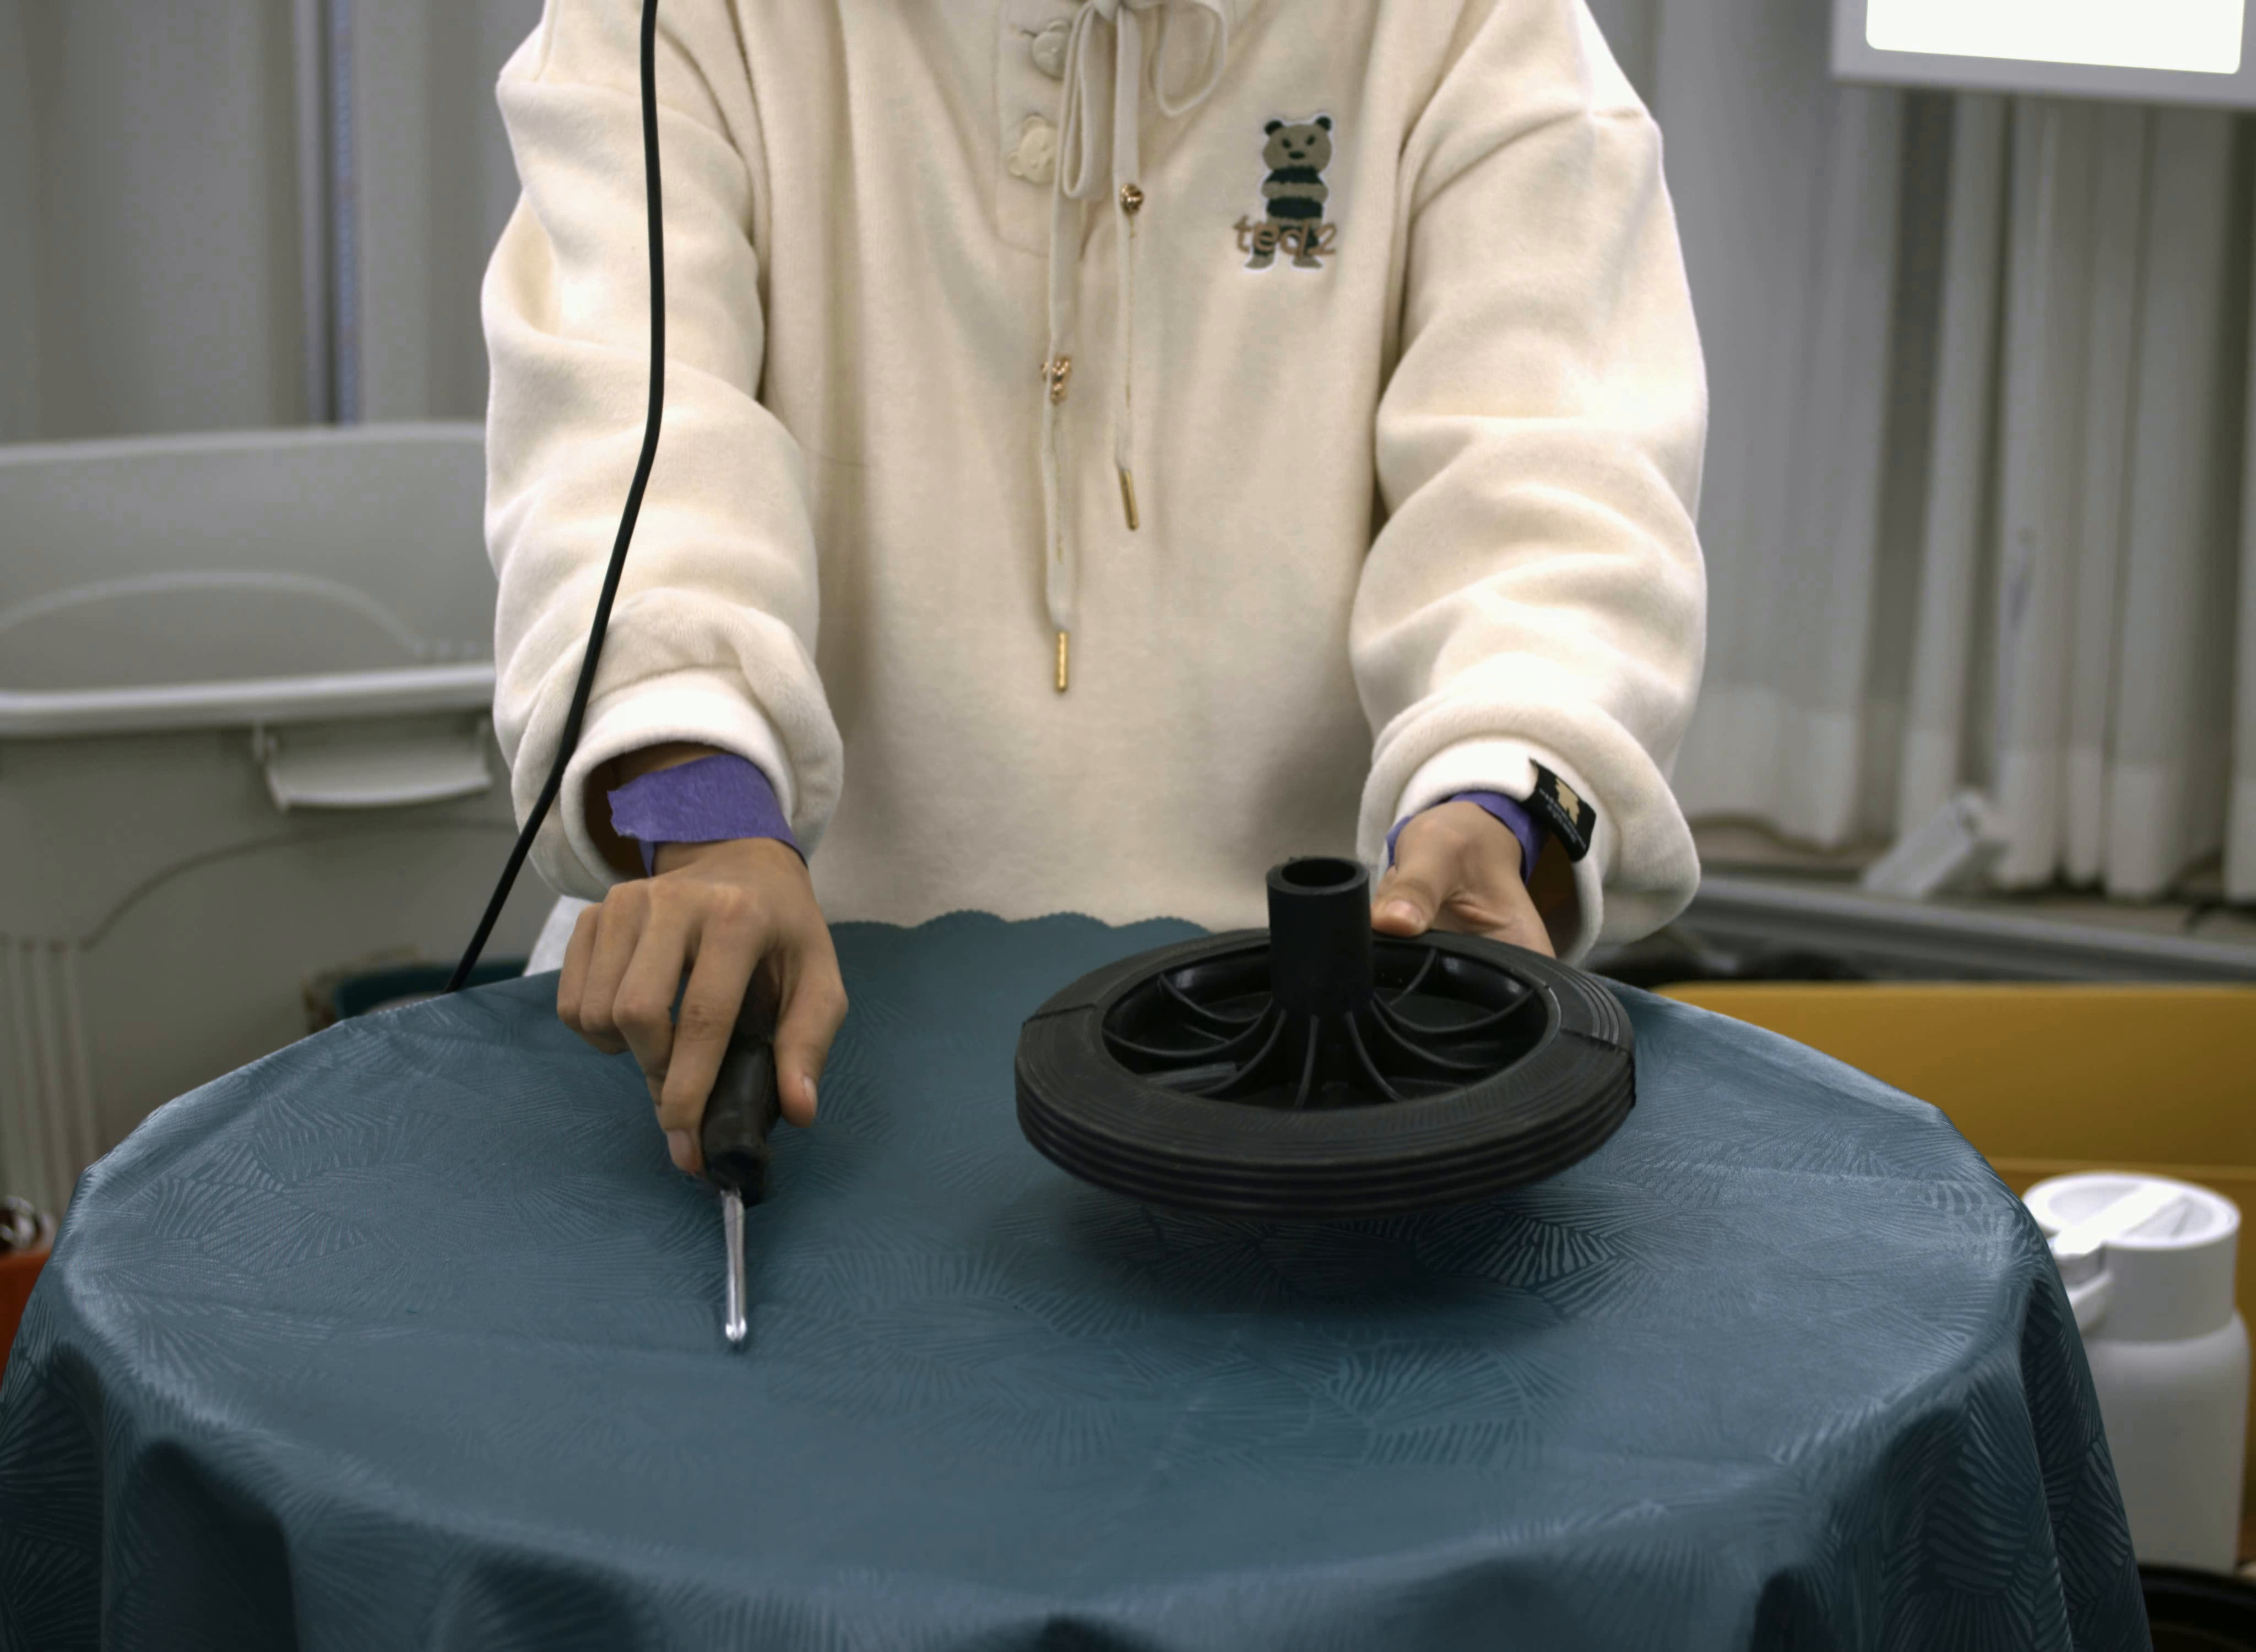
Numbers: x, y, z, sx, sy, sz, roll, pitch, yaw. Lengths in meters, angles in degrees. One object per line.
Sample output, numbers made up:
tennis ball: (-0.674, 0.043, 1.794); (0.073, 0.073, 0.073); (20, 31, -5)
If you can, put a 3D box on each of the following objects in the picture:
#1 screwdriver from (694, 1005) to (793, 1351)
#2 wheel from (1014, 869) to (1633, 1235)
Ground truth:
screwdriver: (-0.113, 0.104, 1.570); (0.031, 0.032, 0.194); (-1, 24, -5)
wheel: (0.057, 0.055, 1.578); (0.190, 0.080, 0.185); (-21, 27, -37)
